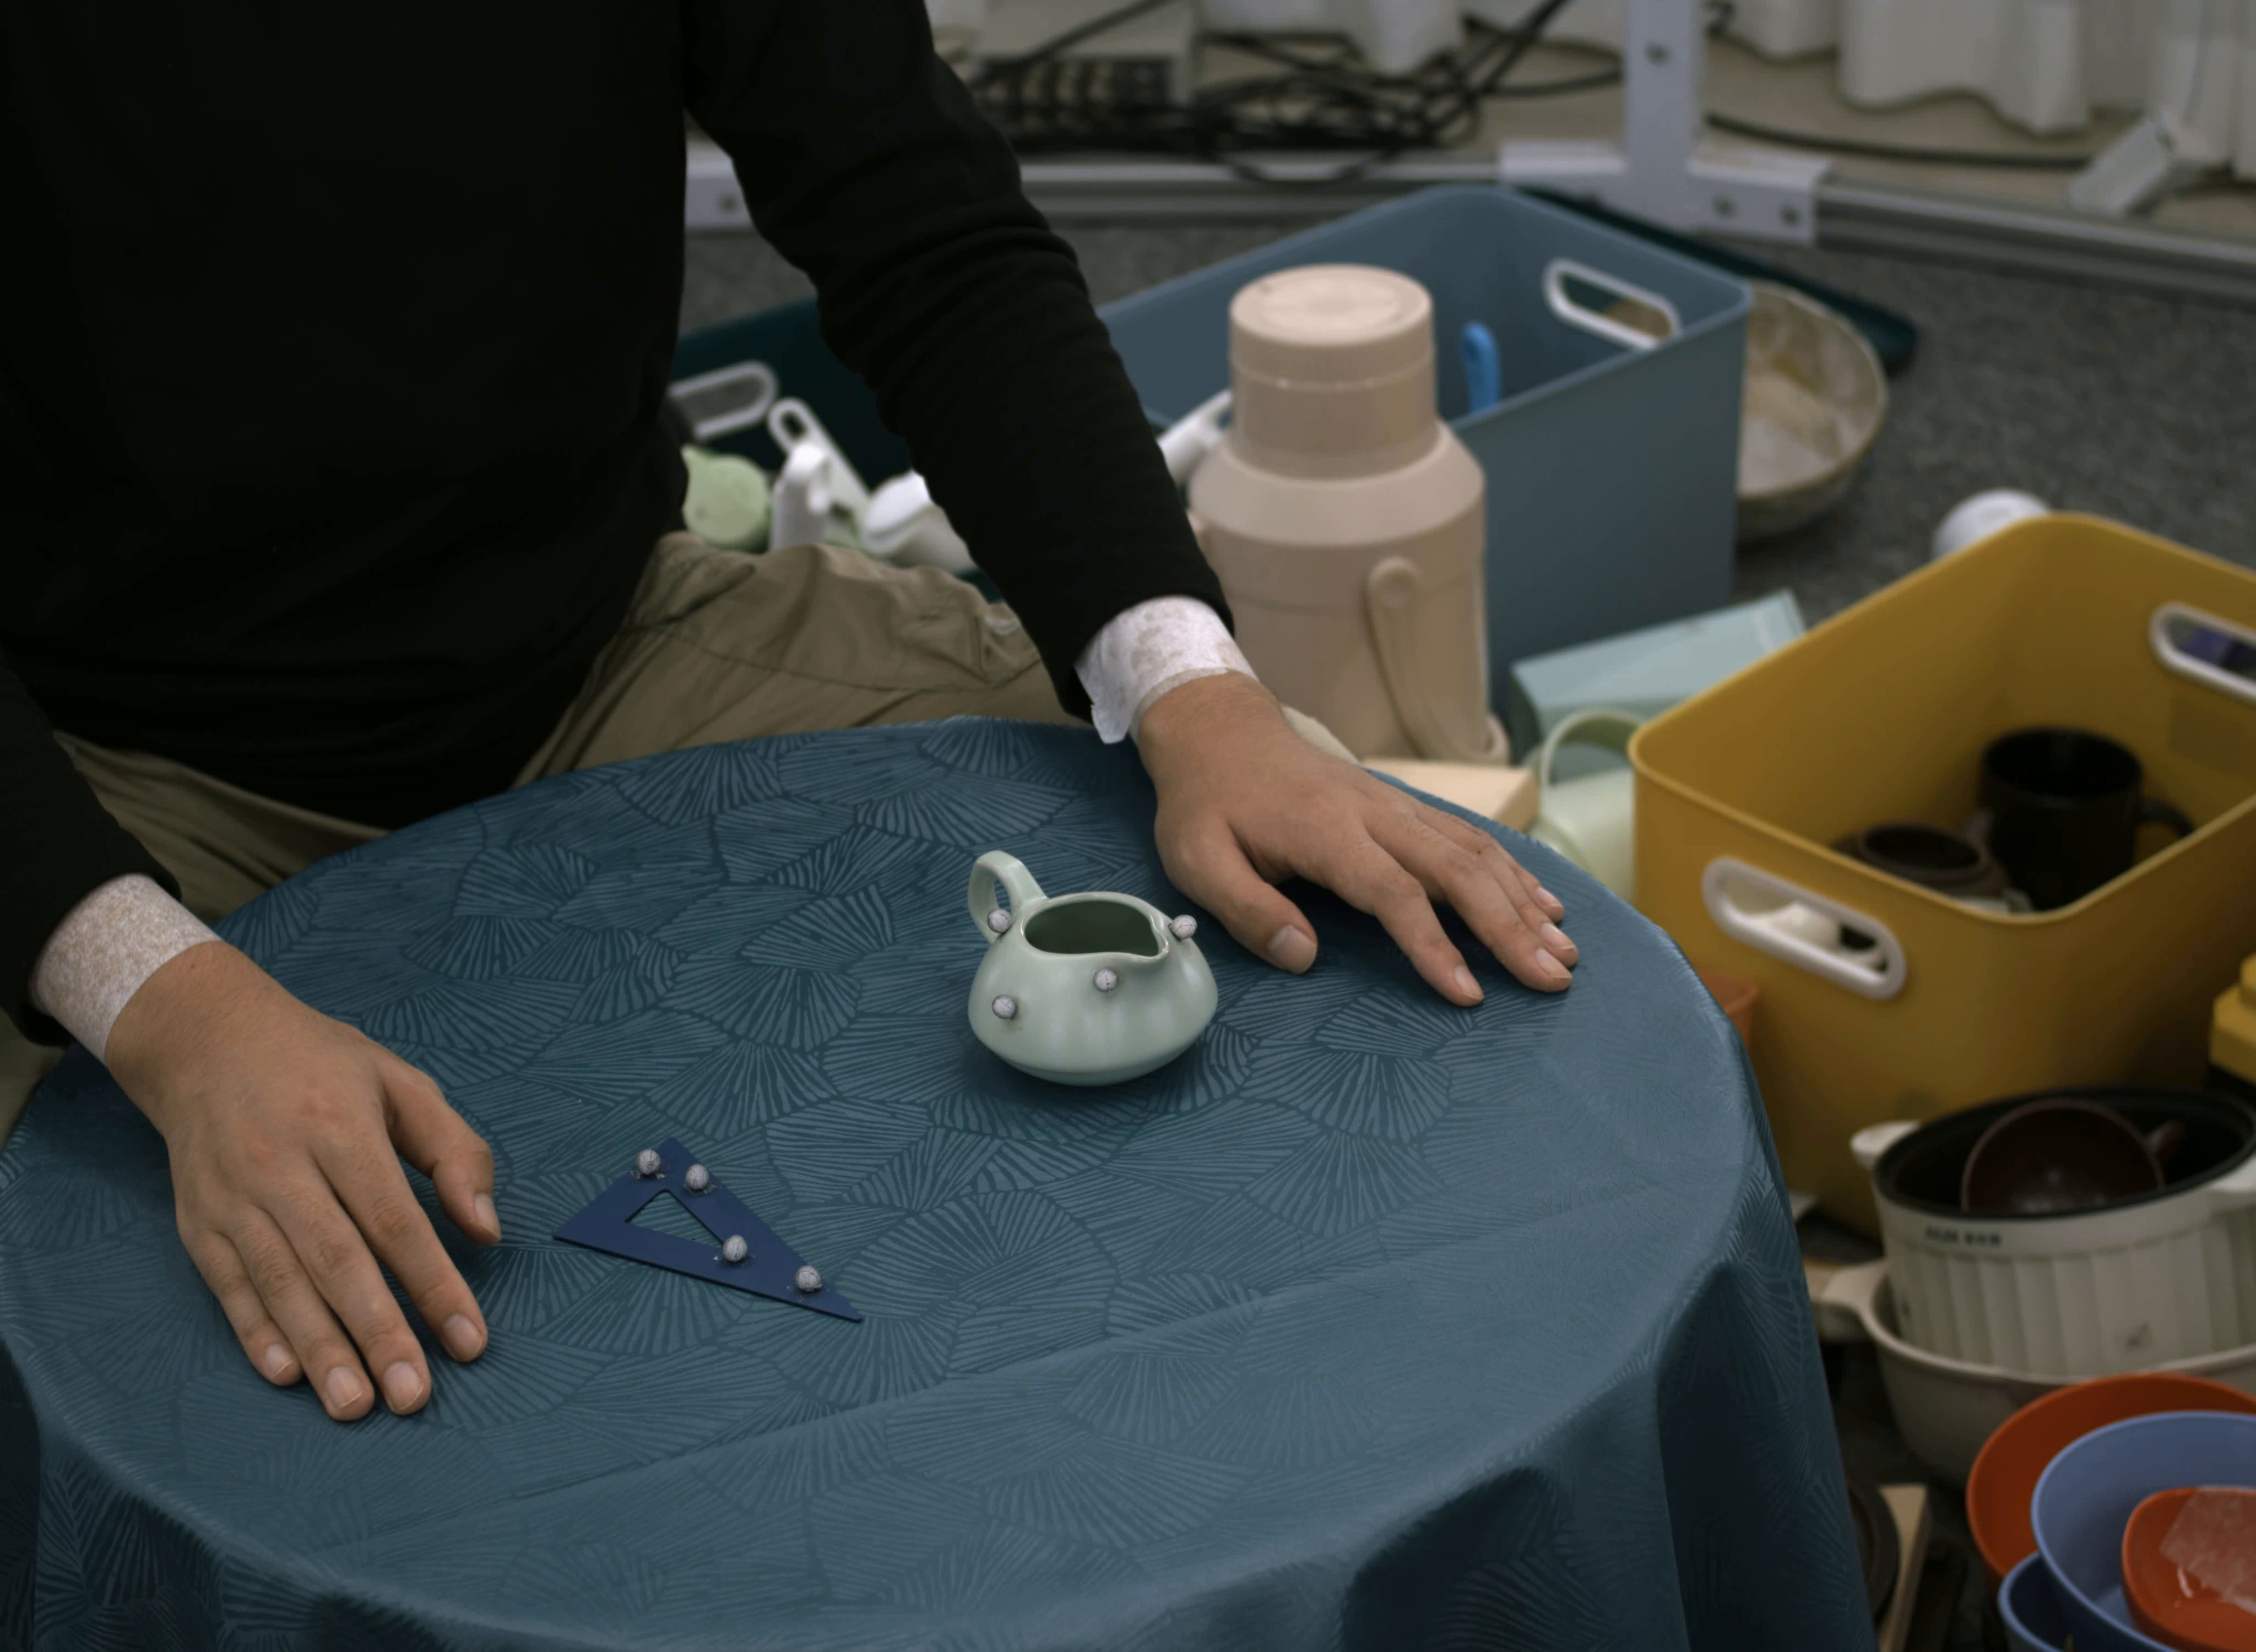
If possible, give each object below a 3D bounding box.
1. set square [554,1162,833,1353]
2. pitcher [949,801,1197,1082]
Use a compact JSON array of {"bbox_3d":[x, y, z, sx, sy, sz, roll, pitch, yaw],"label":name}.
[{"bbox_3d":[-0.145,0.145,1.826,0.061,0.006,0.133,-14,29,-23],"label":"set square"},{"bbox_3d":[-0.025,0.040,1.947,0.086,0.059,0.109,-21,48,-13],"label":"pitcher"}]
